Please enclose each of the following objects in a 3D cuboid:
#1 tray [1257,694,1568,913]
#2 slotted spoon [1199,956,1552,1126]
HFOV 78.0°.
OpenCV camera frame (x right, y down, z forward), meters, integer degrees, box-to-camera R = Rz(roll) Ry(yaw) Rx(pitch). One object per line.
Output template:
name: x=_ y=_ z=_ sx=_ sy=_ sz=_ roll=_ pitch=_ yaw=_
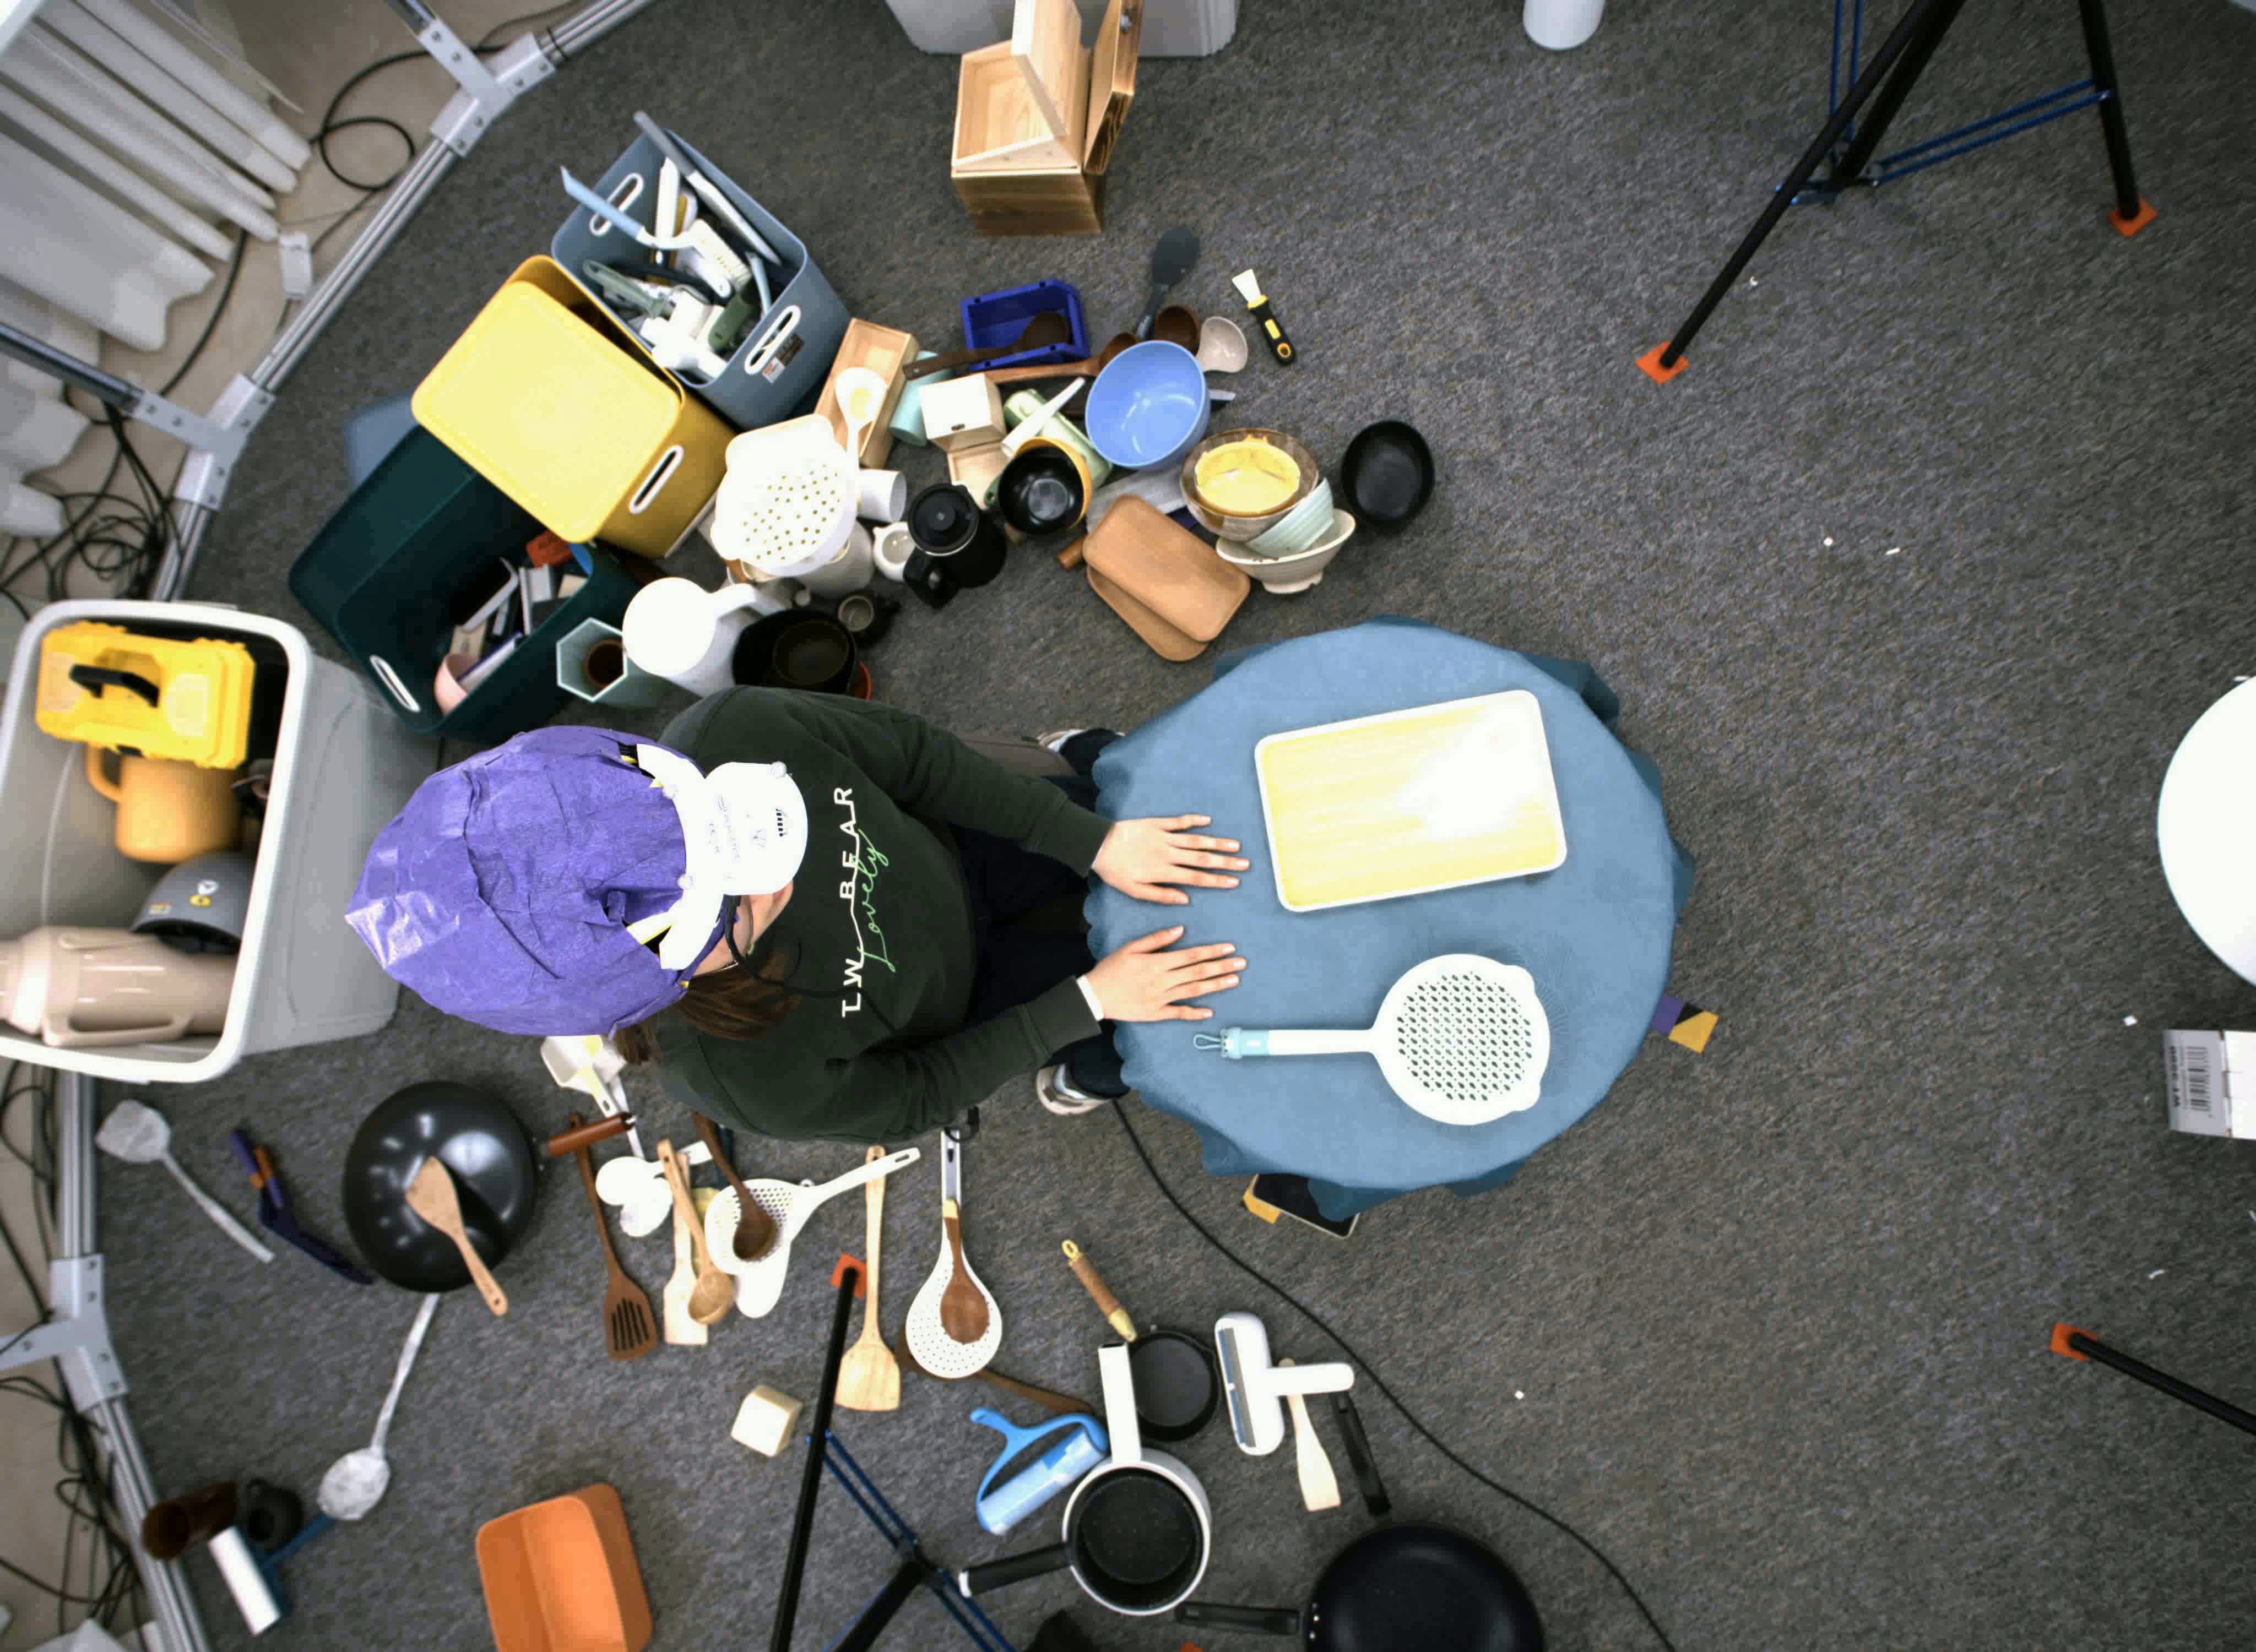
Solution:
tray: x=0.297 y=-0.024 z=1.453 sx=0.302 sy=0.027 sz=0.190 roll=-10 pitch=84 yaw=9
slotted spoon: x=0.247 y=0.221 z=1.426 sx=0.360 sy=0.075 sz=0.168 roll=-3 pitch=85 yaw=10
